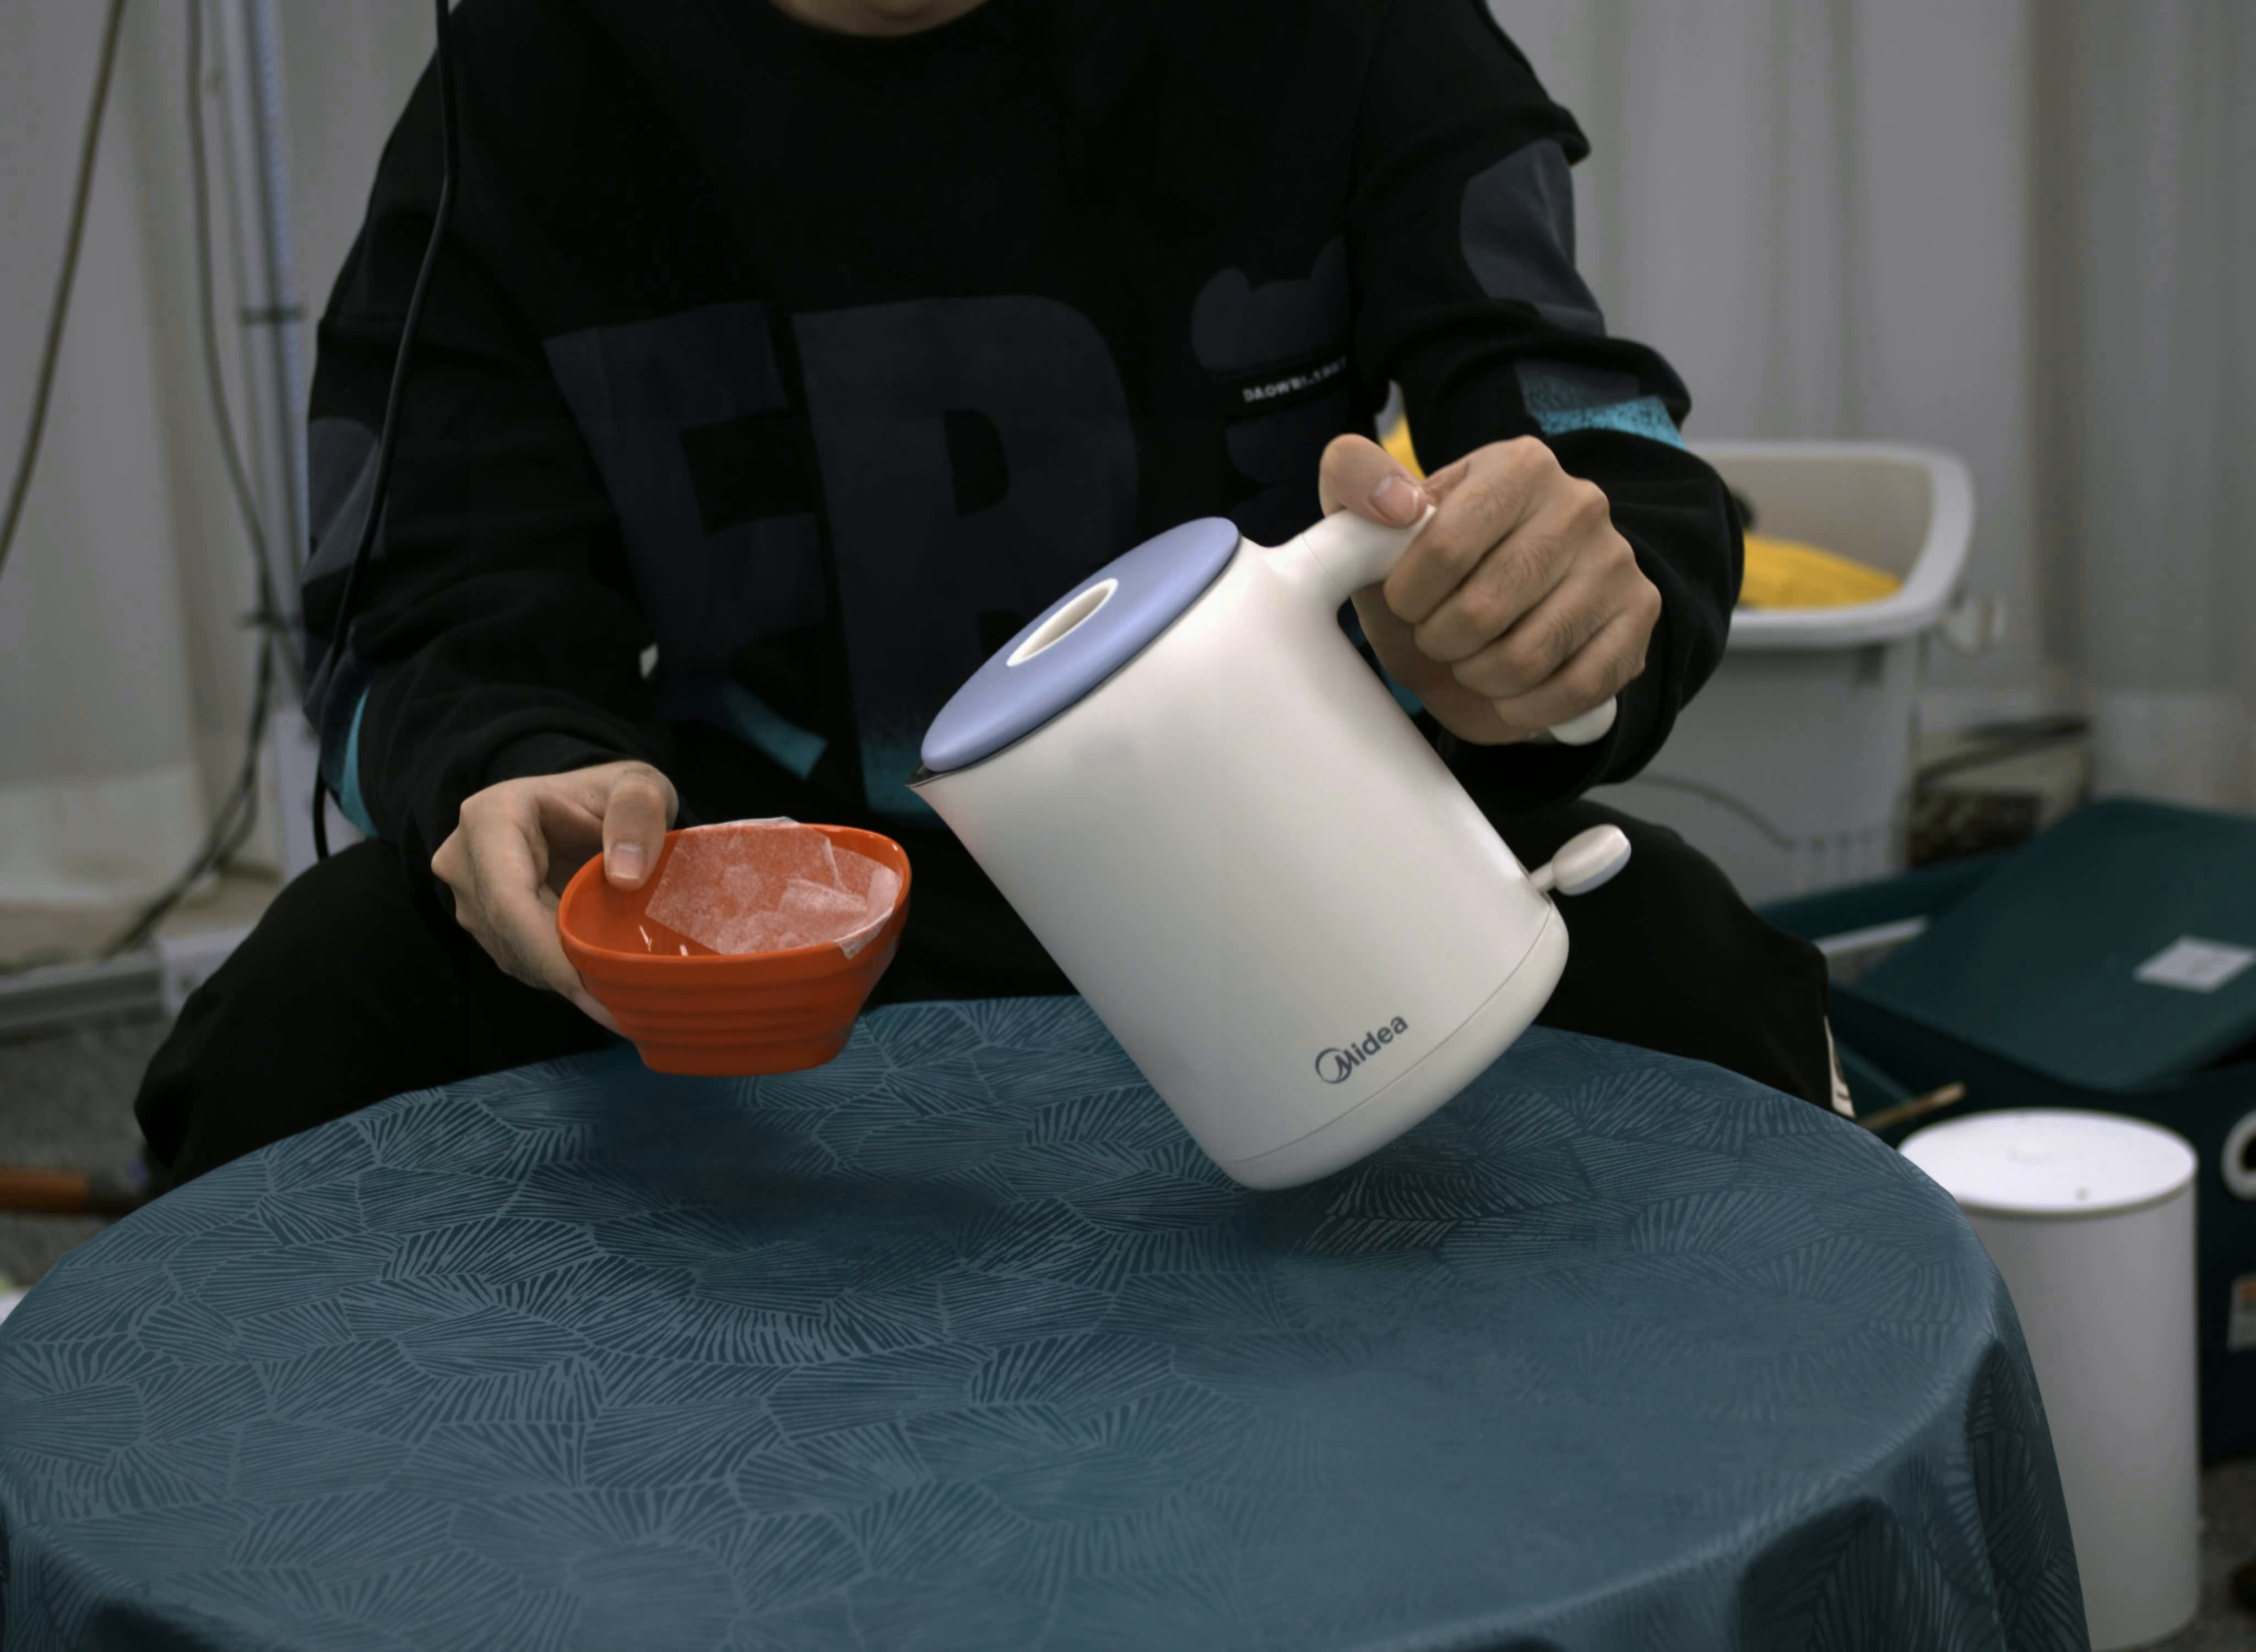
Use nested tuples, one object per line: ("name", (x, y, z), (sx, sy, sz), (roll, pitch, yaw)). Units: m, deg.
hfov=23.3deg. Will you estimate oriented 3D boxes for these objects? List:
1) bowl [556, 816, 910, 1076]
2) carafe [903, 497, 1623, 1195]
("bowl", (-0.121, 0.041, 1.714), (0.118, 0.051, 0.120), (-5, 23, 2))
("carafe", (0.054, -0.005, 1.659), (0.191, 0.181, 0.133), (-34, 12, 5))
